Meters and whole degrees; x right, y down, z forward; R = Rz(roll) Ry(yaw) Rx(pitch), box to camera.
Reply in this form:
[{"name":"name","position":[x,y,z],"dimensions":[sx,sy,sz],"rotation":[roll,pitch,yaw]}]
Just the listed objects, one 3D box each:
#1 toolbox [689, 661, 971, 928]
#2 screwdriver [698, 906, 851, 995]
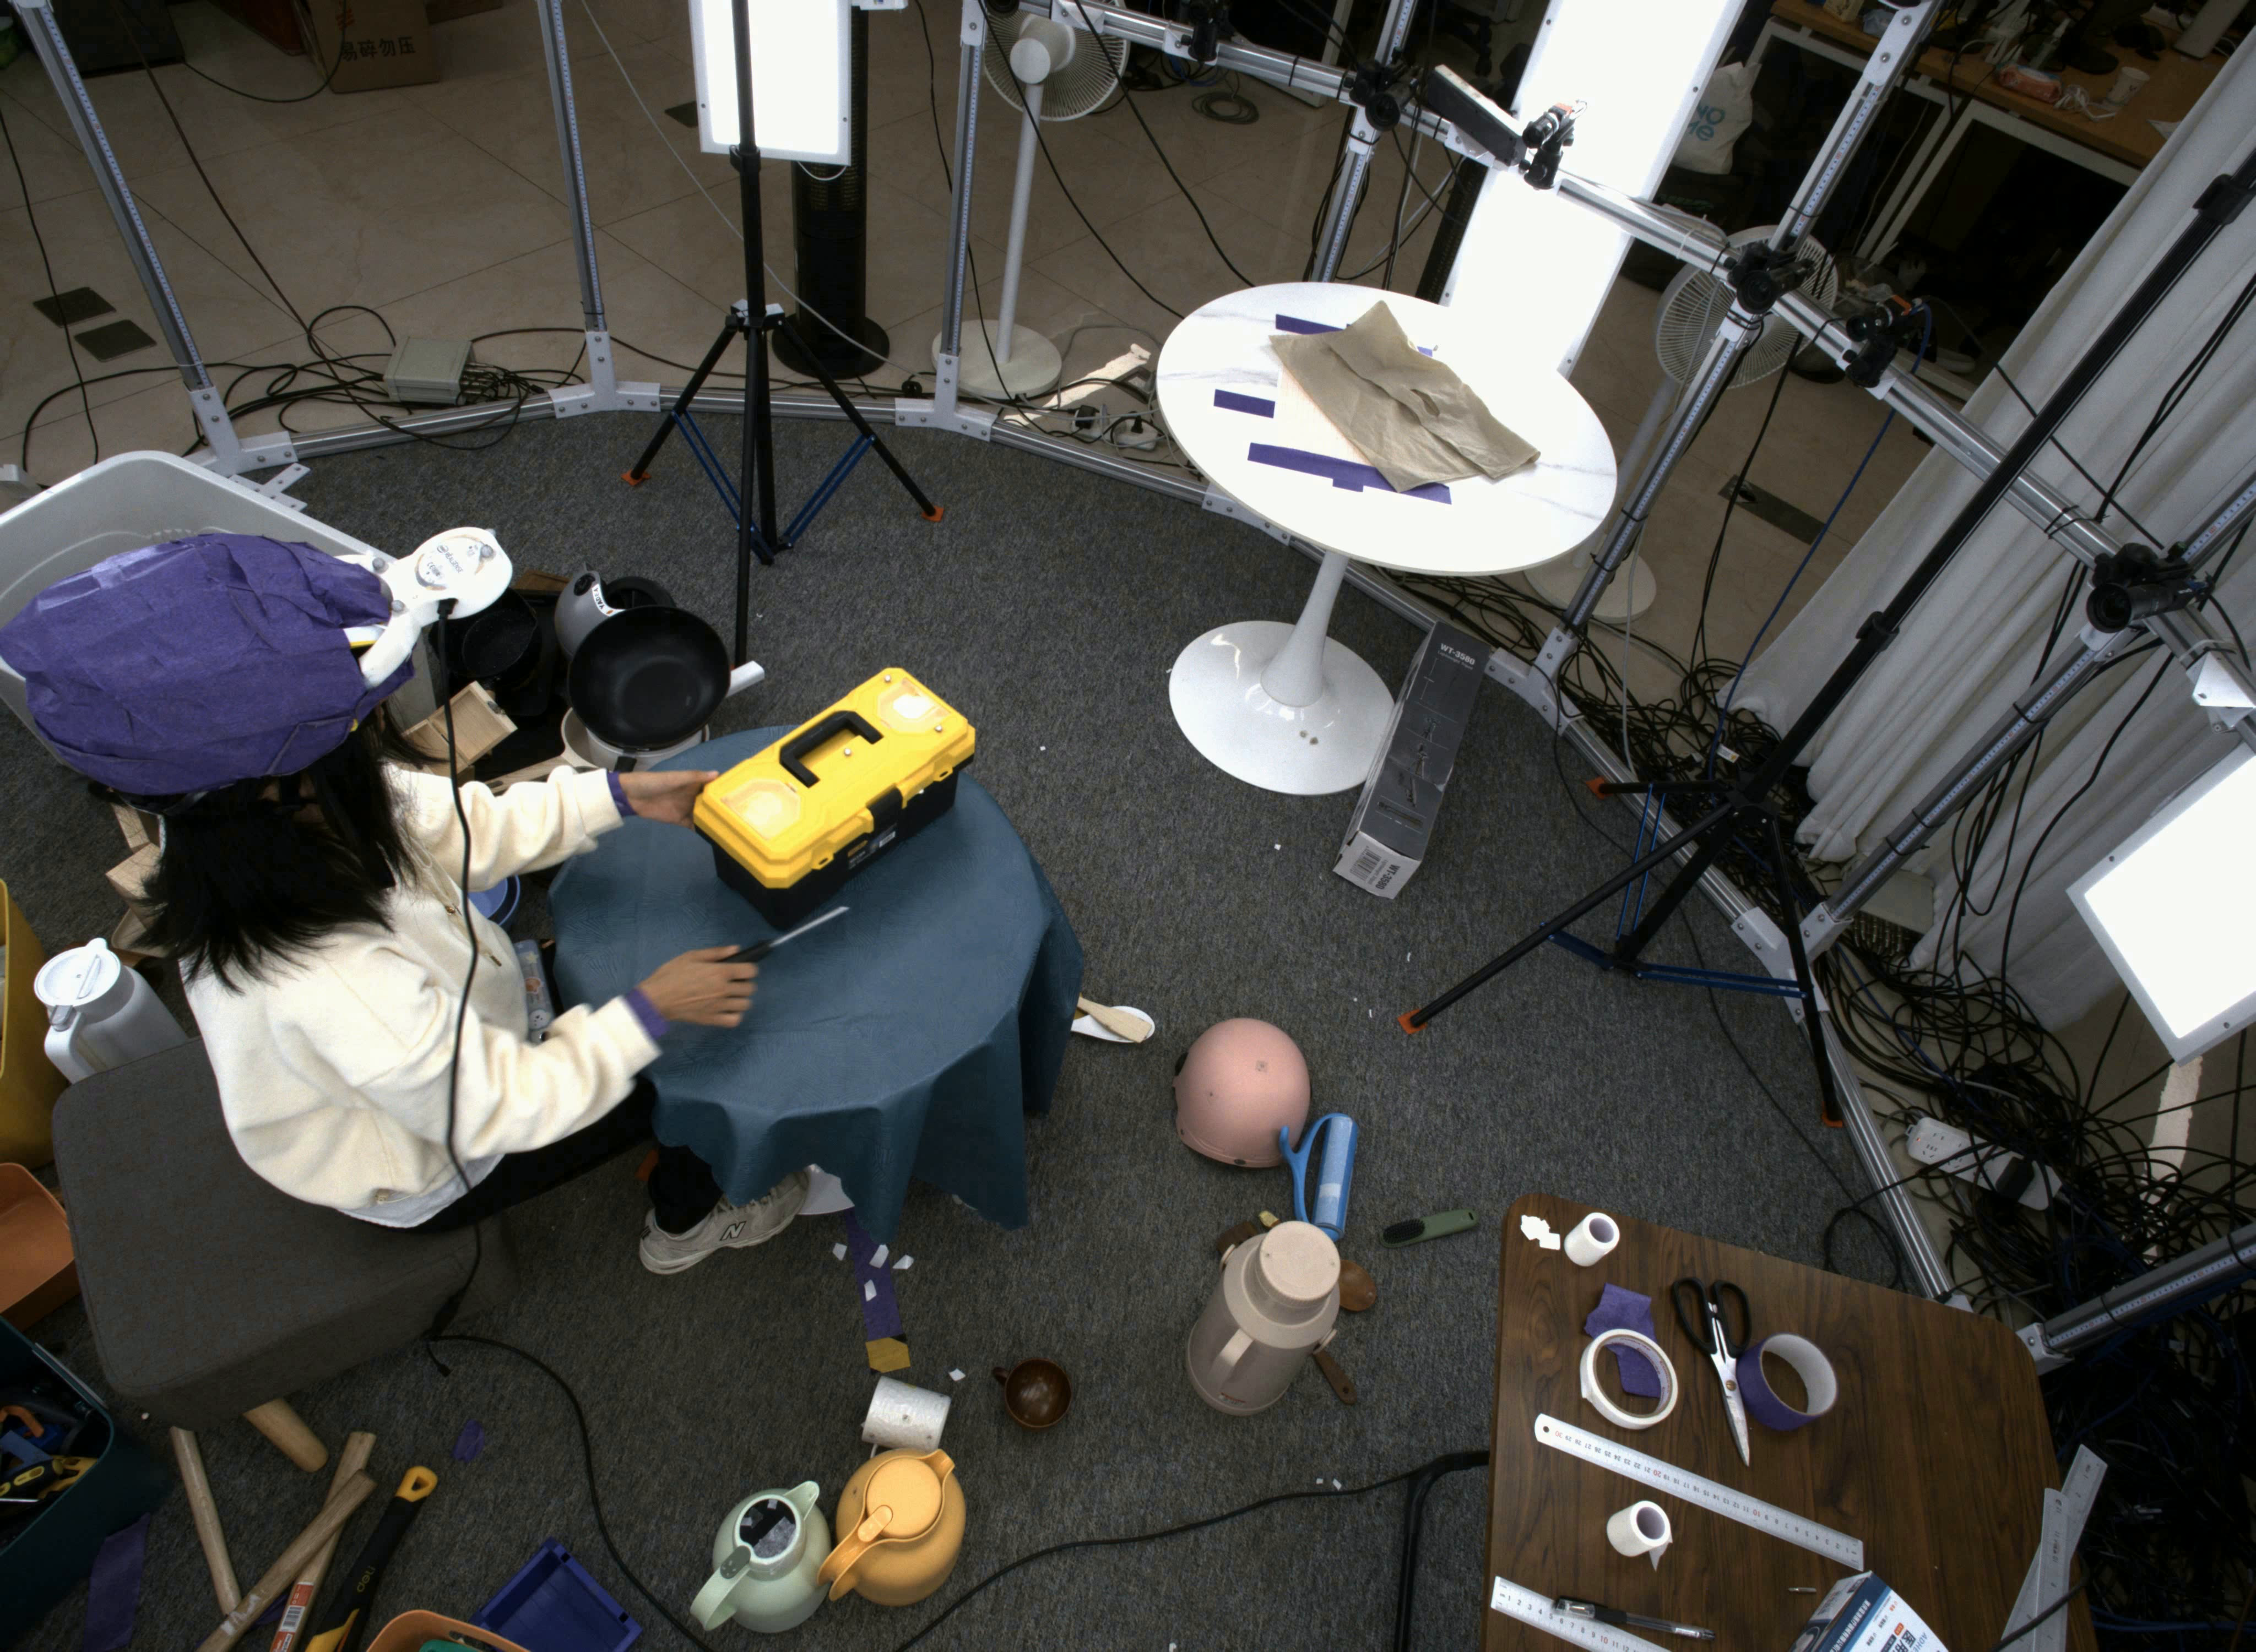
[{"name":"toolbox","position":[-0.370,-0.040,1.651],"dimensions":[0.177,0.176,0.352],"rotation":[38,54,17]},{"name":"screwdriver","position":[-0.409,0.140,1.513],"dimensions":[0.196,0.032,0.030],"rotation":[-27,62,-20]}]
